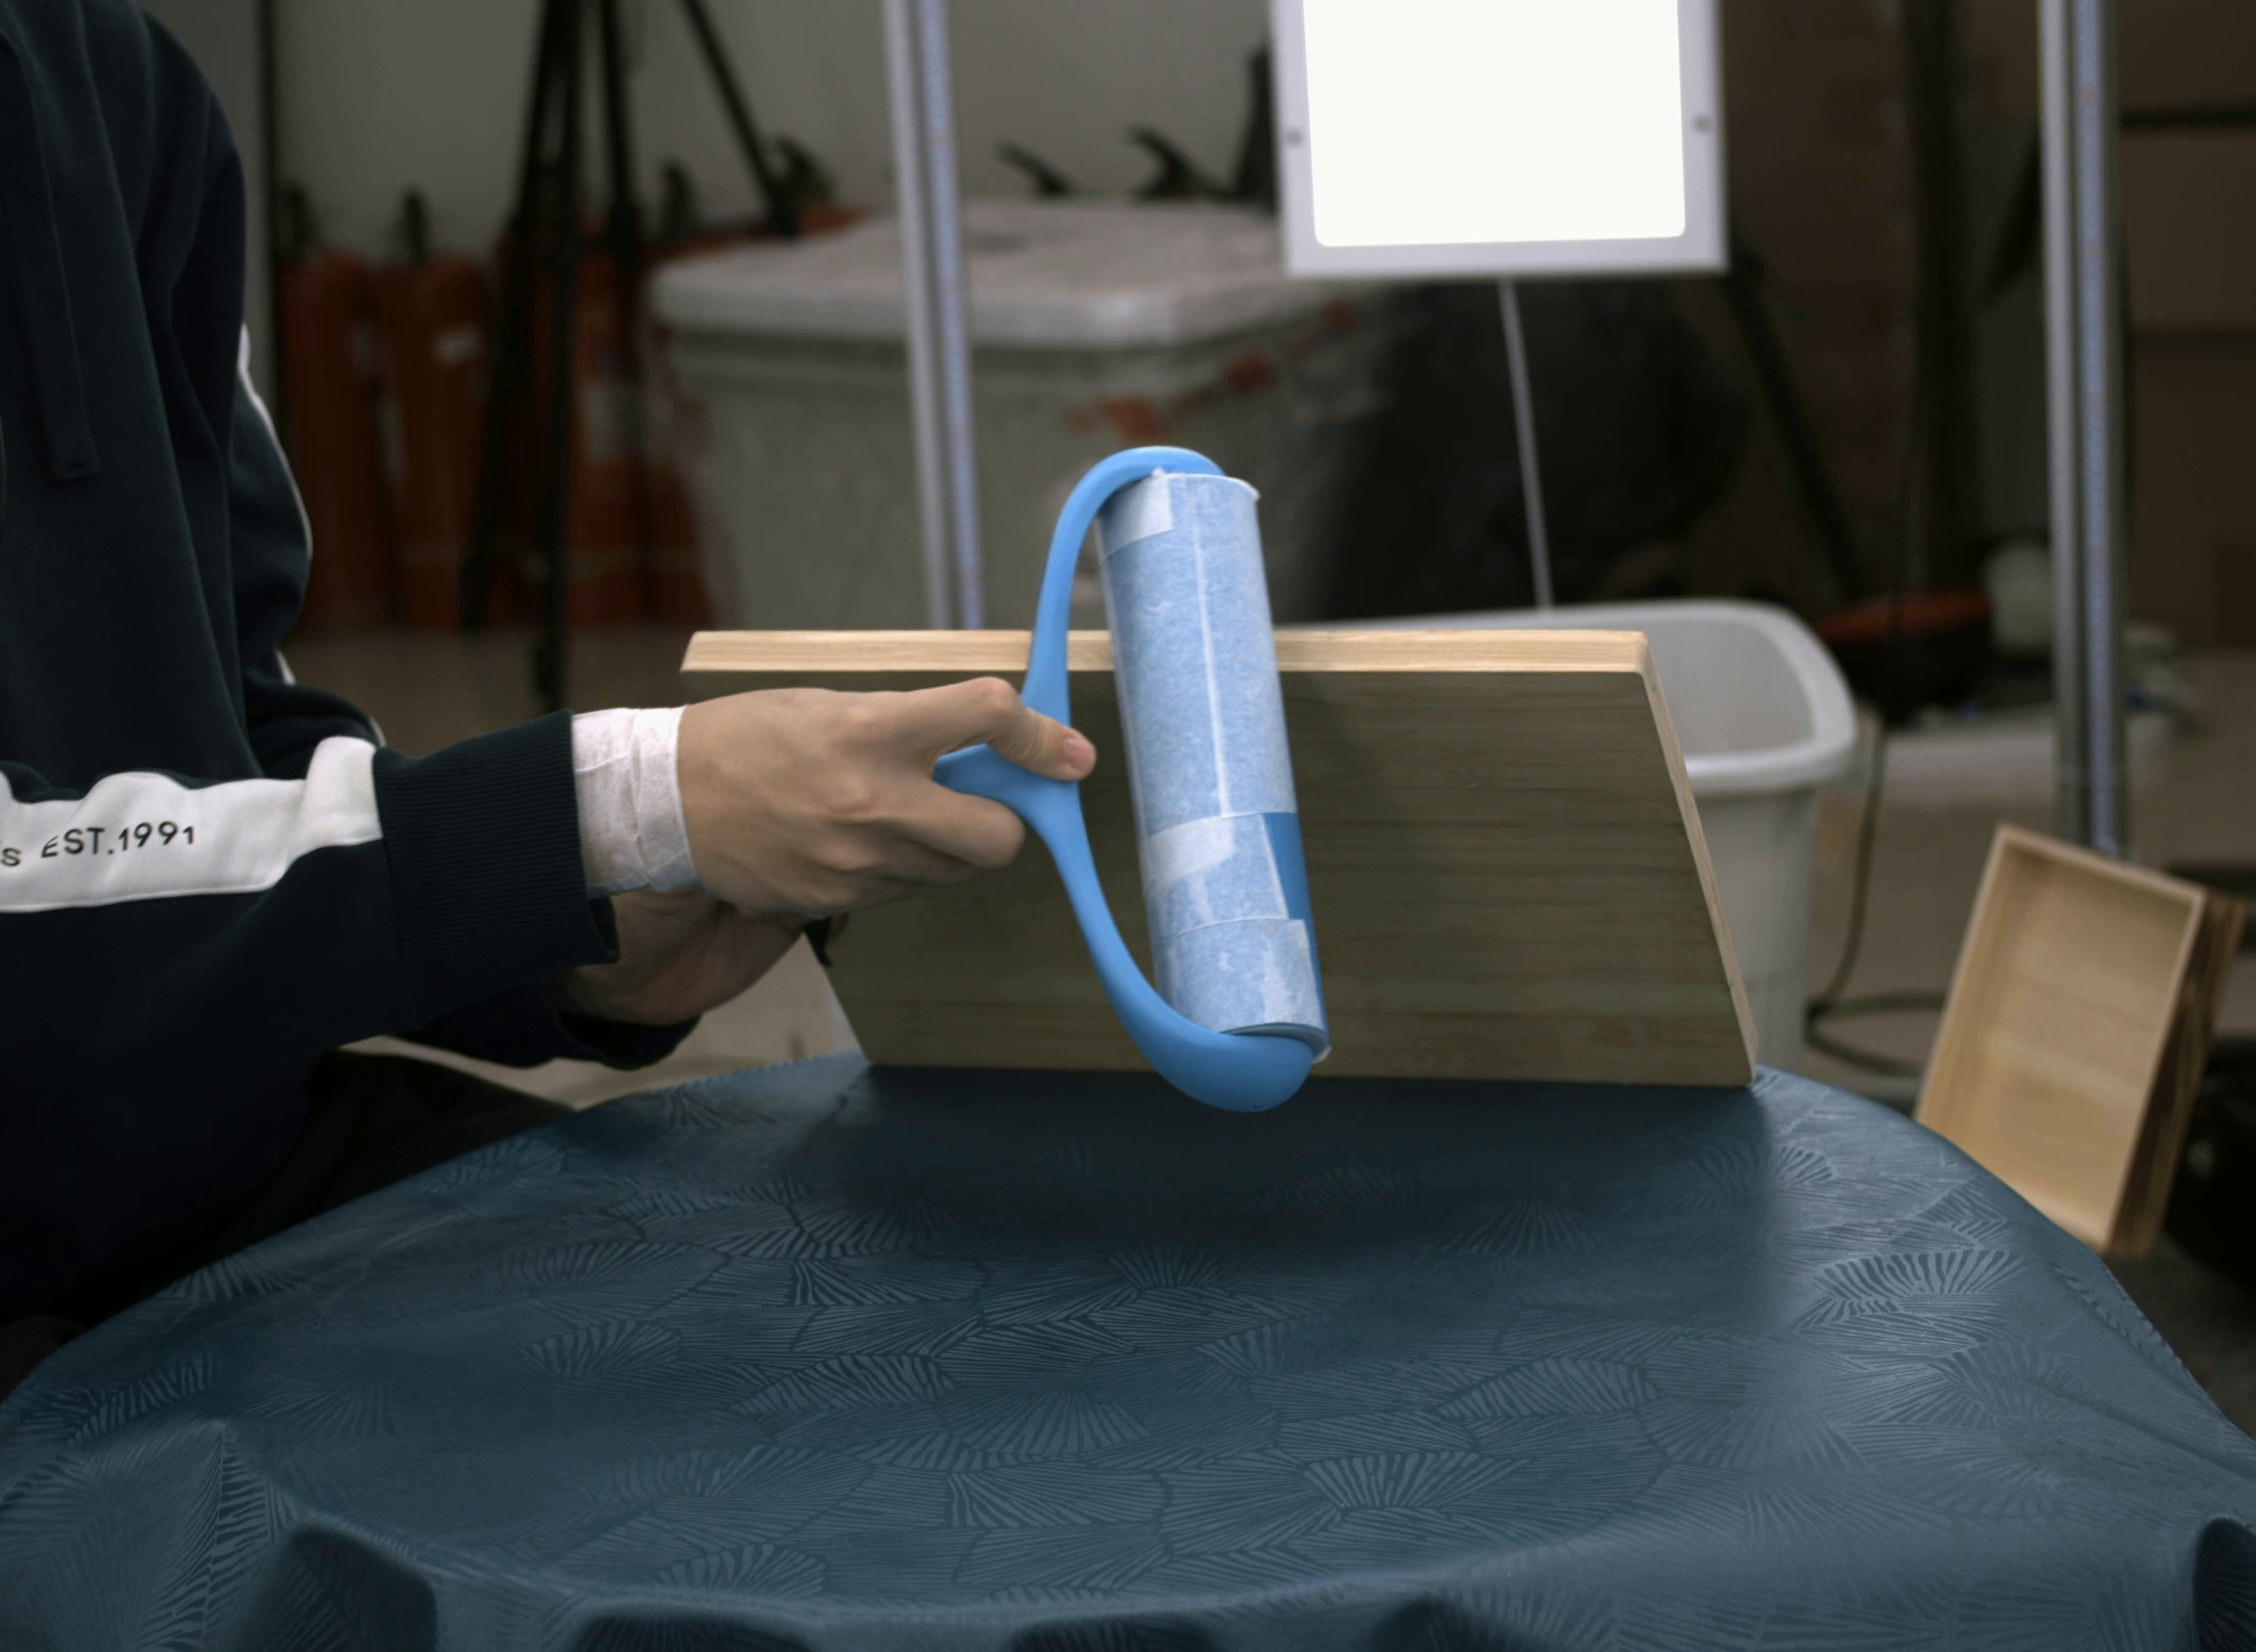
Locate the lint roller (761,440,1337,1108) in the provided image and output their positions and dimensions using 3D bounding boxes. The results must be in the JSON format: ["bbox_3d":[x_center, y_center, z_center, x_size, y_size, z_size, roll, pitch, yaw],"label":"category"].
[{"bbox_3d":[-0.032,-0.008,1.785,0.180,0.229,0.068,-11,-18,0],"label":"lint roller"}]

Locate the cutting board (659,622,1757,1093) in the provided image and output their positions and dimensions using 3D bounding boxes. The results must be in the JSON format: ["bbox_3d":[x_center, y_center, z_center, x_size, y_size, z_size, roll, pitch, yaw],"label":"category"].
[{"bbox_3d":[0.032,0.014,1.928,0.353,0.249,0.023,1,53,19],"label":"cutting board"}]
